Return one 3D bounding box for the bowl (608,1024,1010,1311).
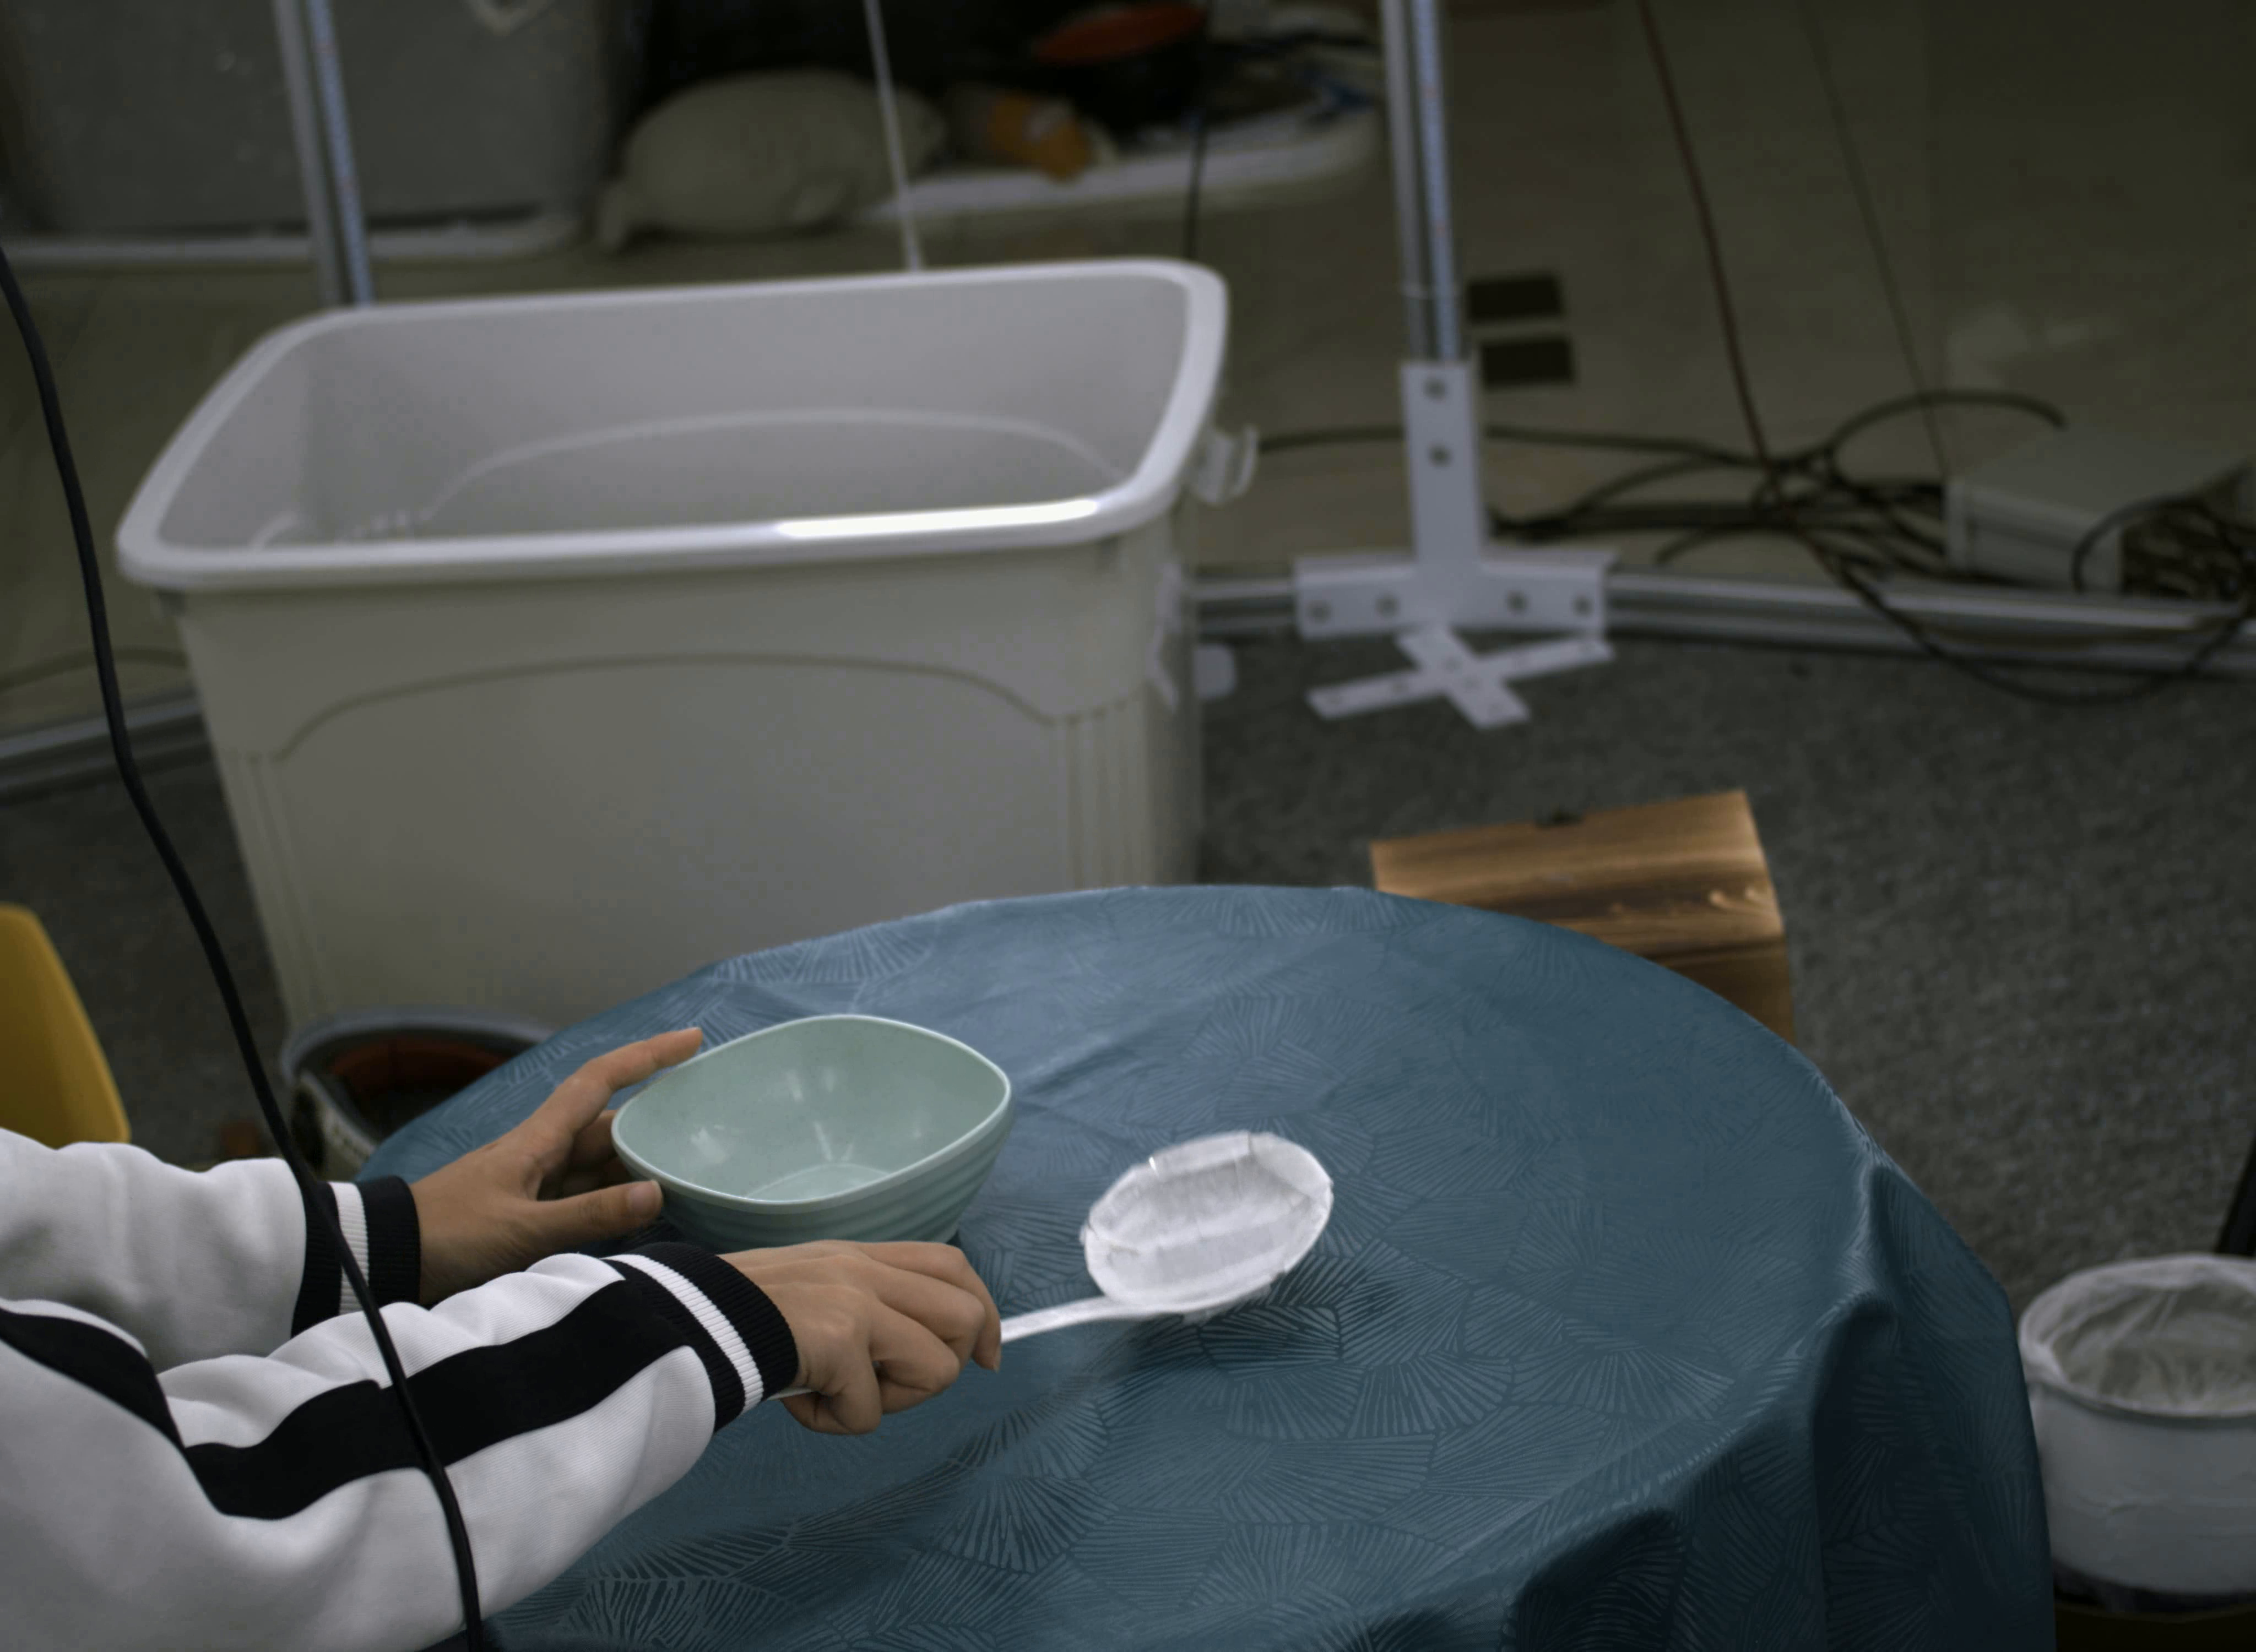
[{"bbox_3d":[-0.117,0.133,2.127,0.151,0.059,0.149,-5,25,2],"label":"bowl"}]

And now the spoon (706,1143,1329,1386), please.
[{"bbox_3d":[-0.043,0.151,1.990,0.100,0.060,0.277,10,9,44],"label":"spoon"}]
